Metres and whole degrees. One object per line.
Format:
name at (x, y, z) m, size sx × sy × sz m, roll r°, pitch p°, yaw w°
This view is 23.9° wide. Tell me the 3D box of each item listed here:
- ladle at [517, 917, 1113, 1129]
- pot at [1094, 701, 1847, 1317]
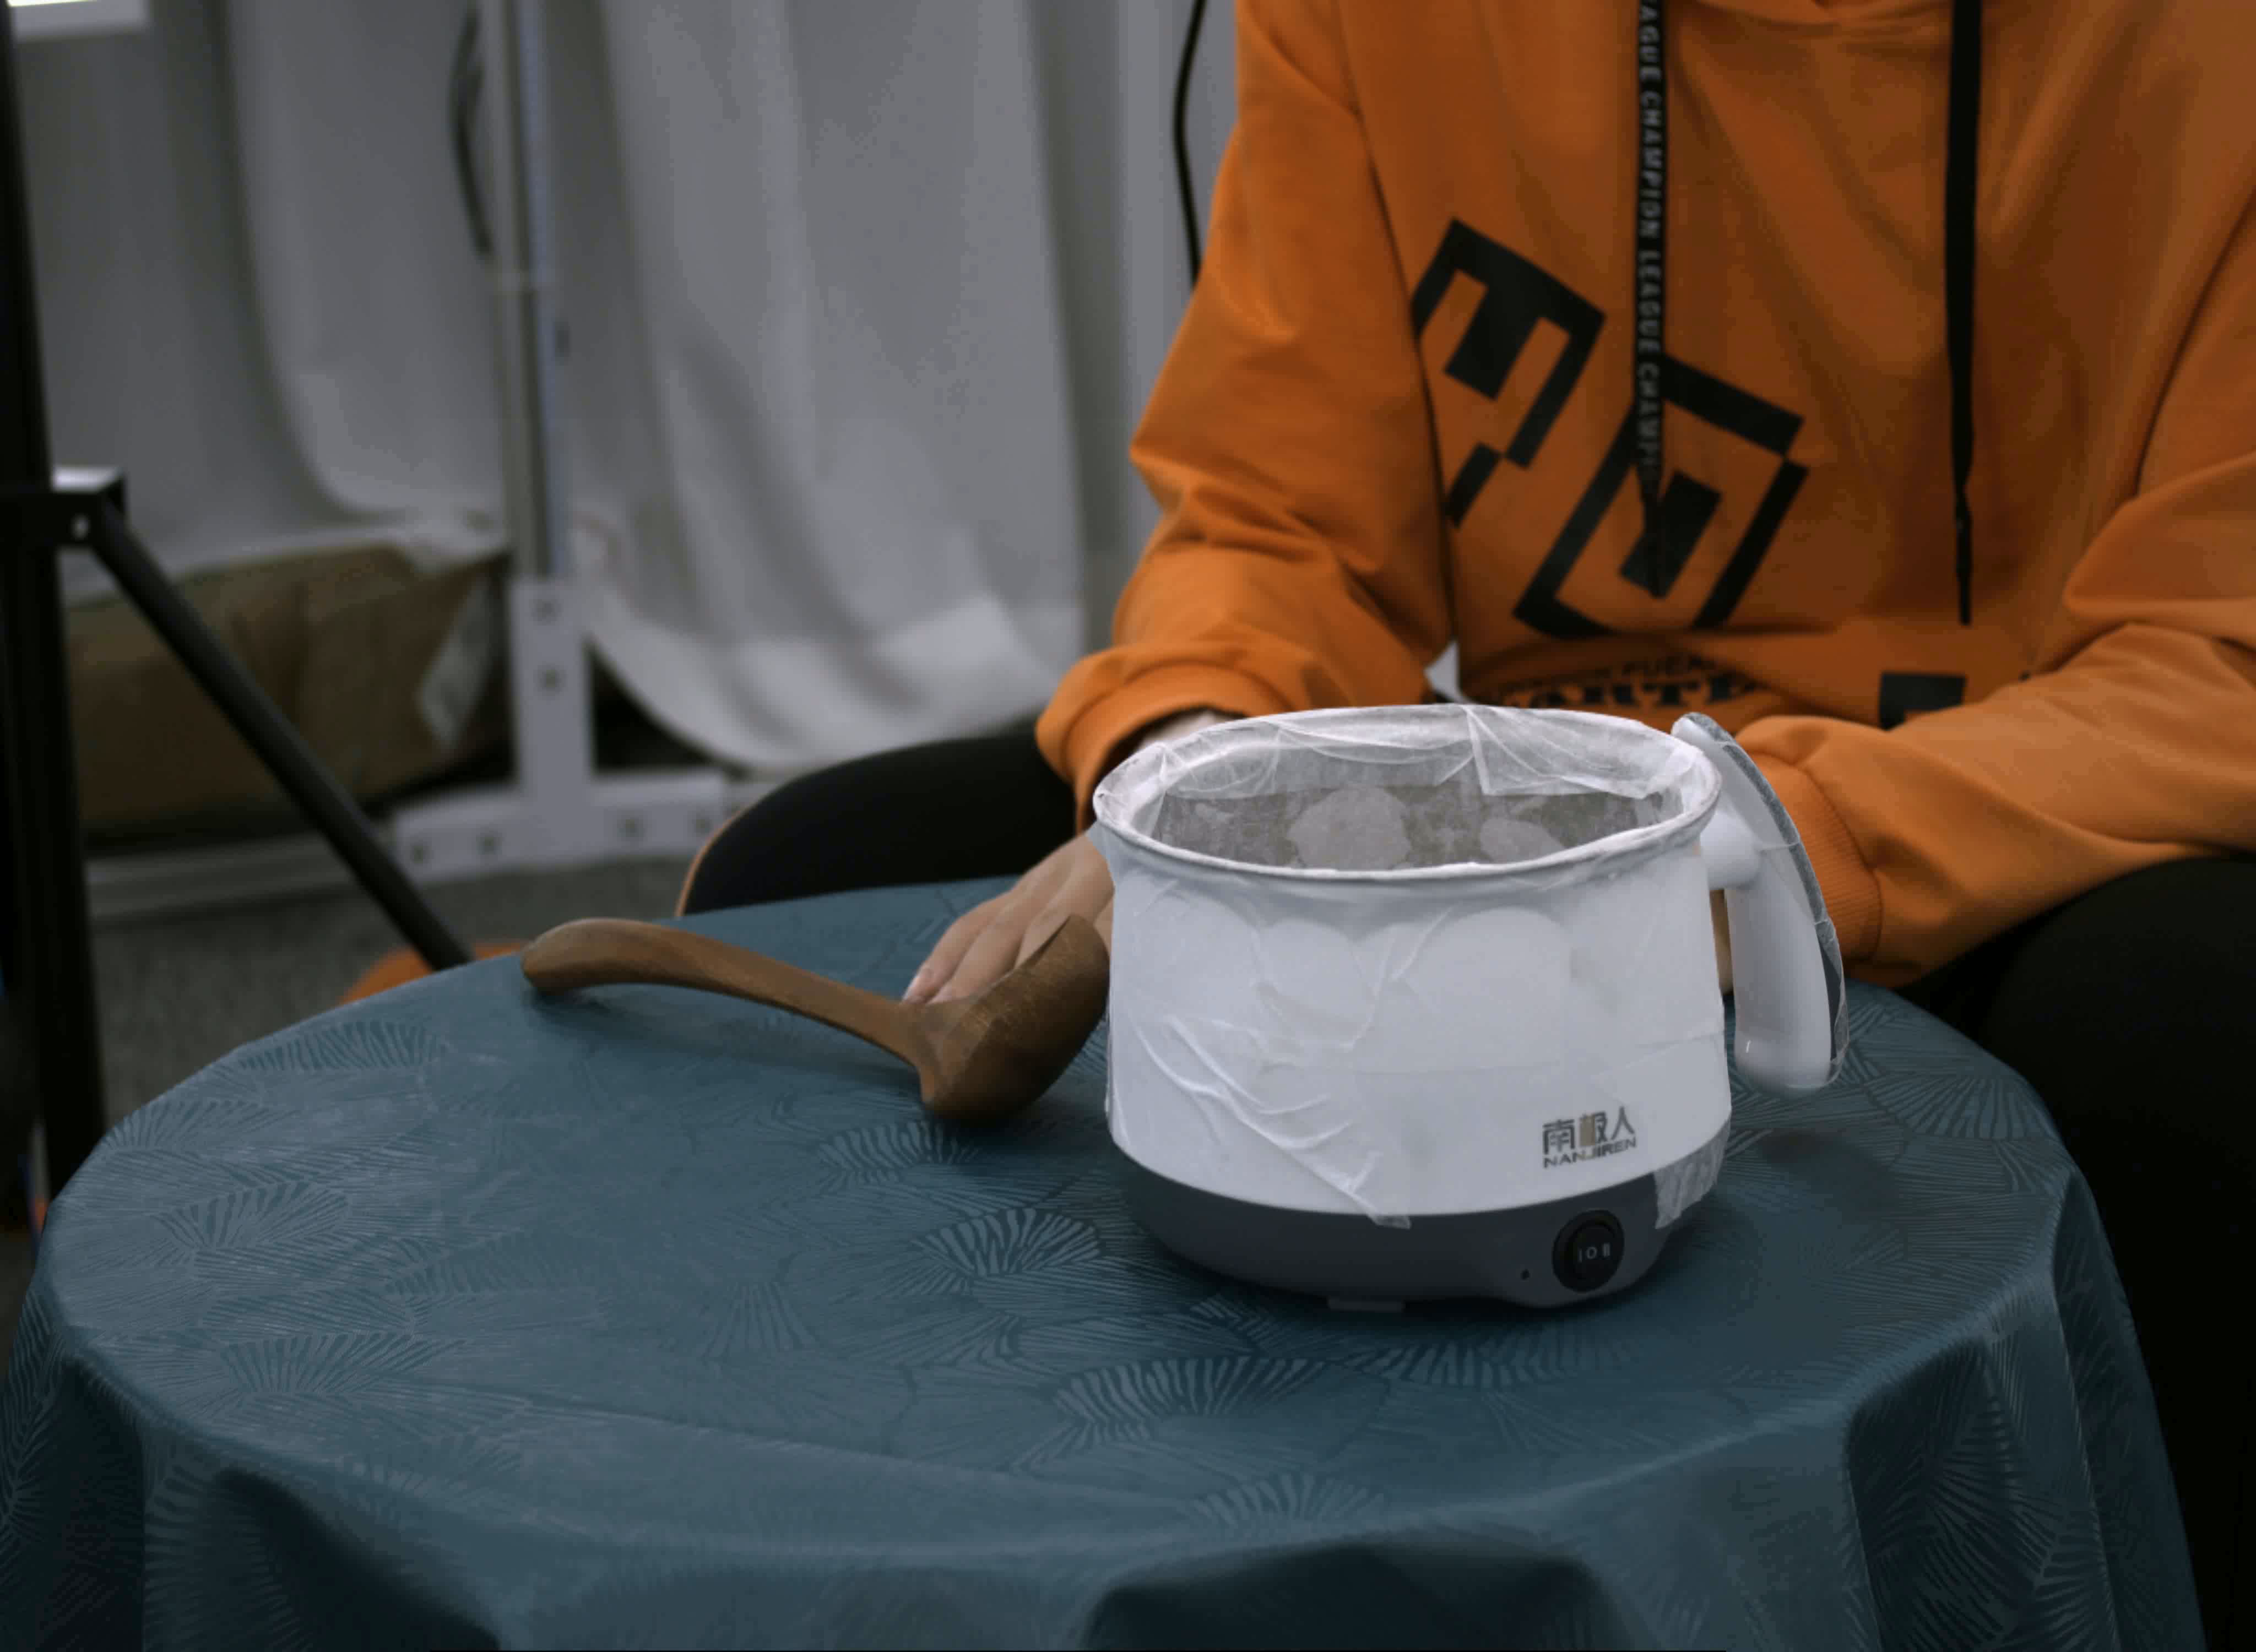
ladle at (-0.109, 0.046, 1.685) m, size 0.266 × 0.064 × 0.076 m, roll 12°, pitch 47°, yaw 40°
pot at (0.104, 0.045, 1.511) m, size 0.228 × 0.136 × 0.182 m, roll -12°, pitch 18°, yaw -28°
